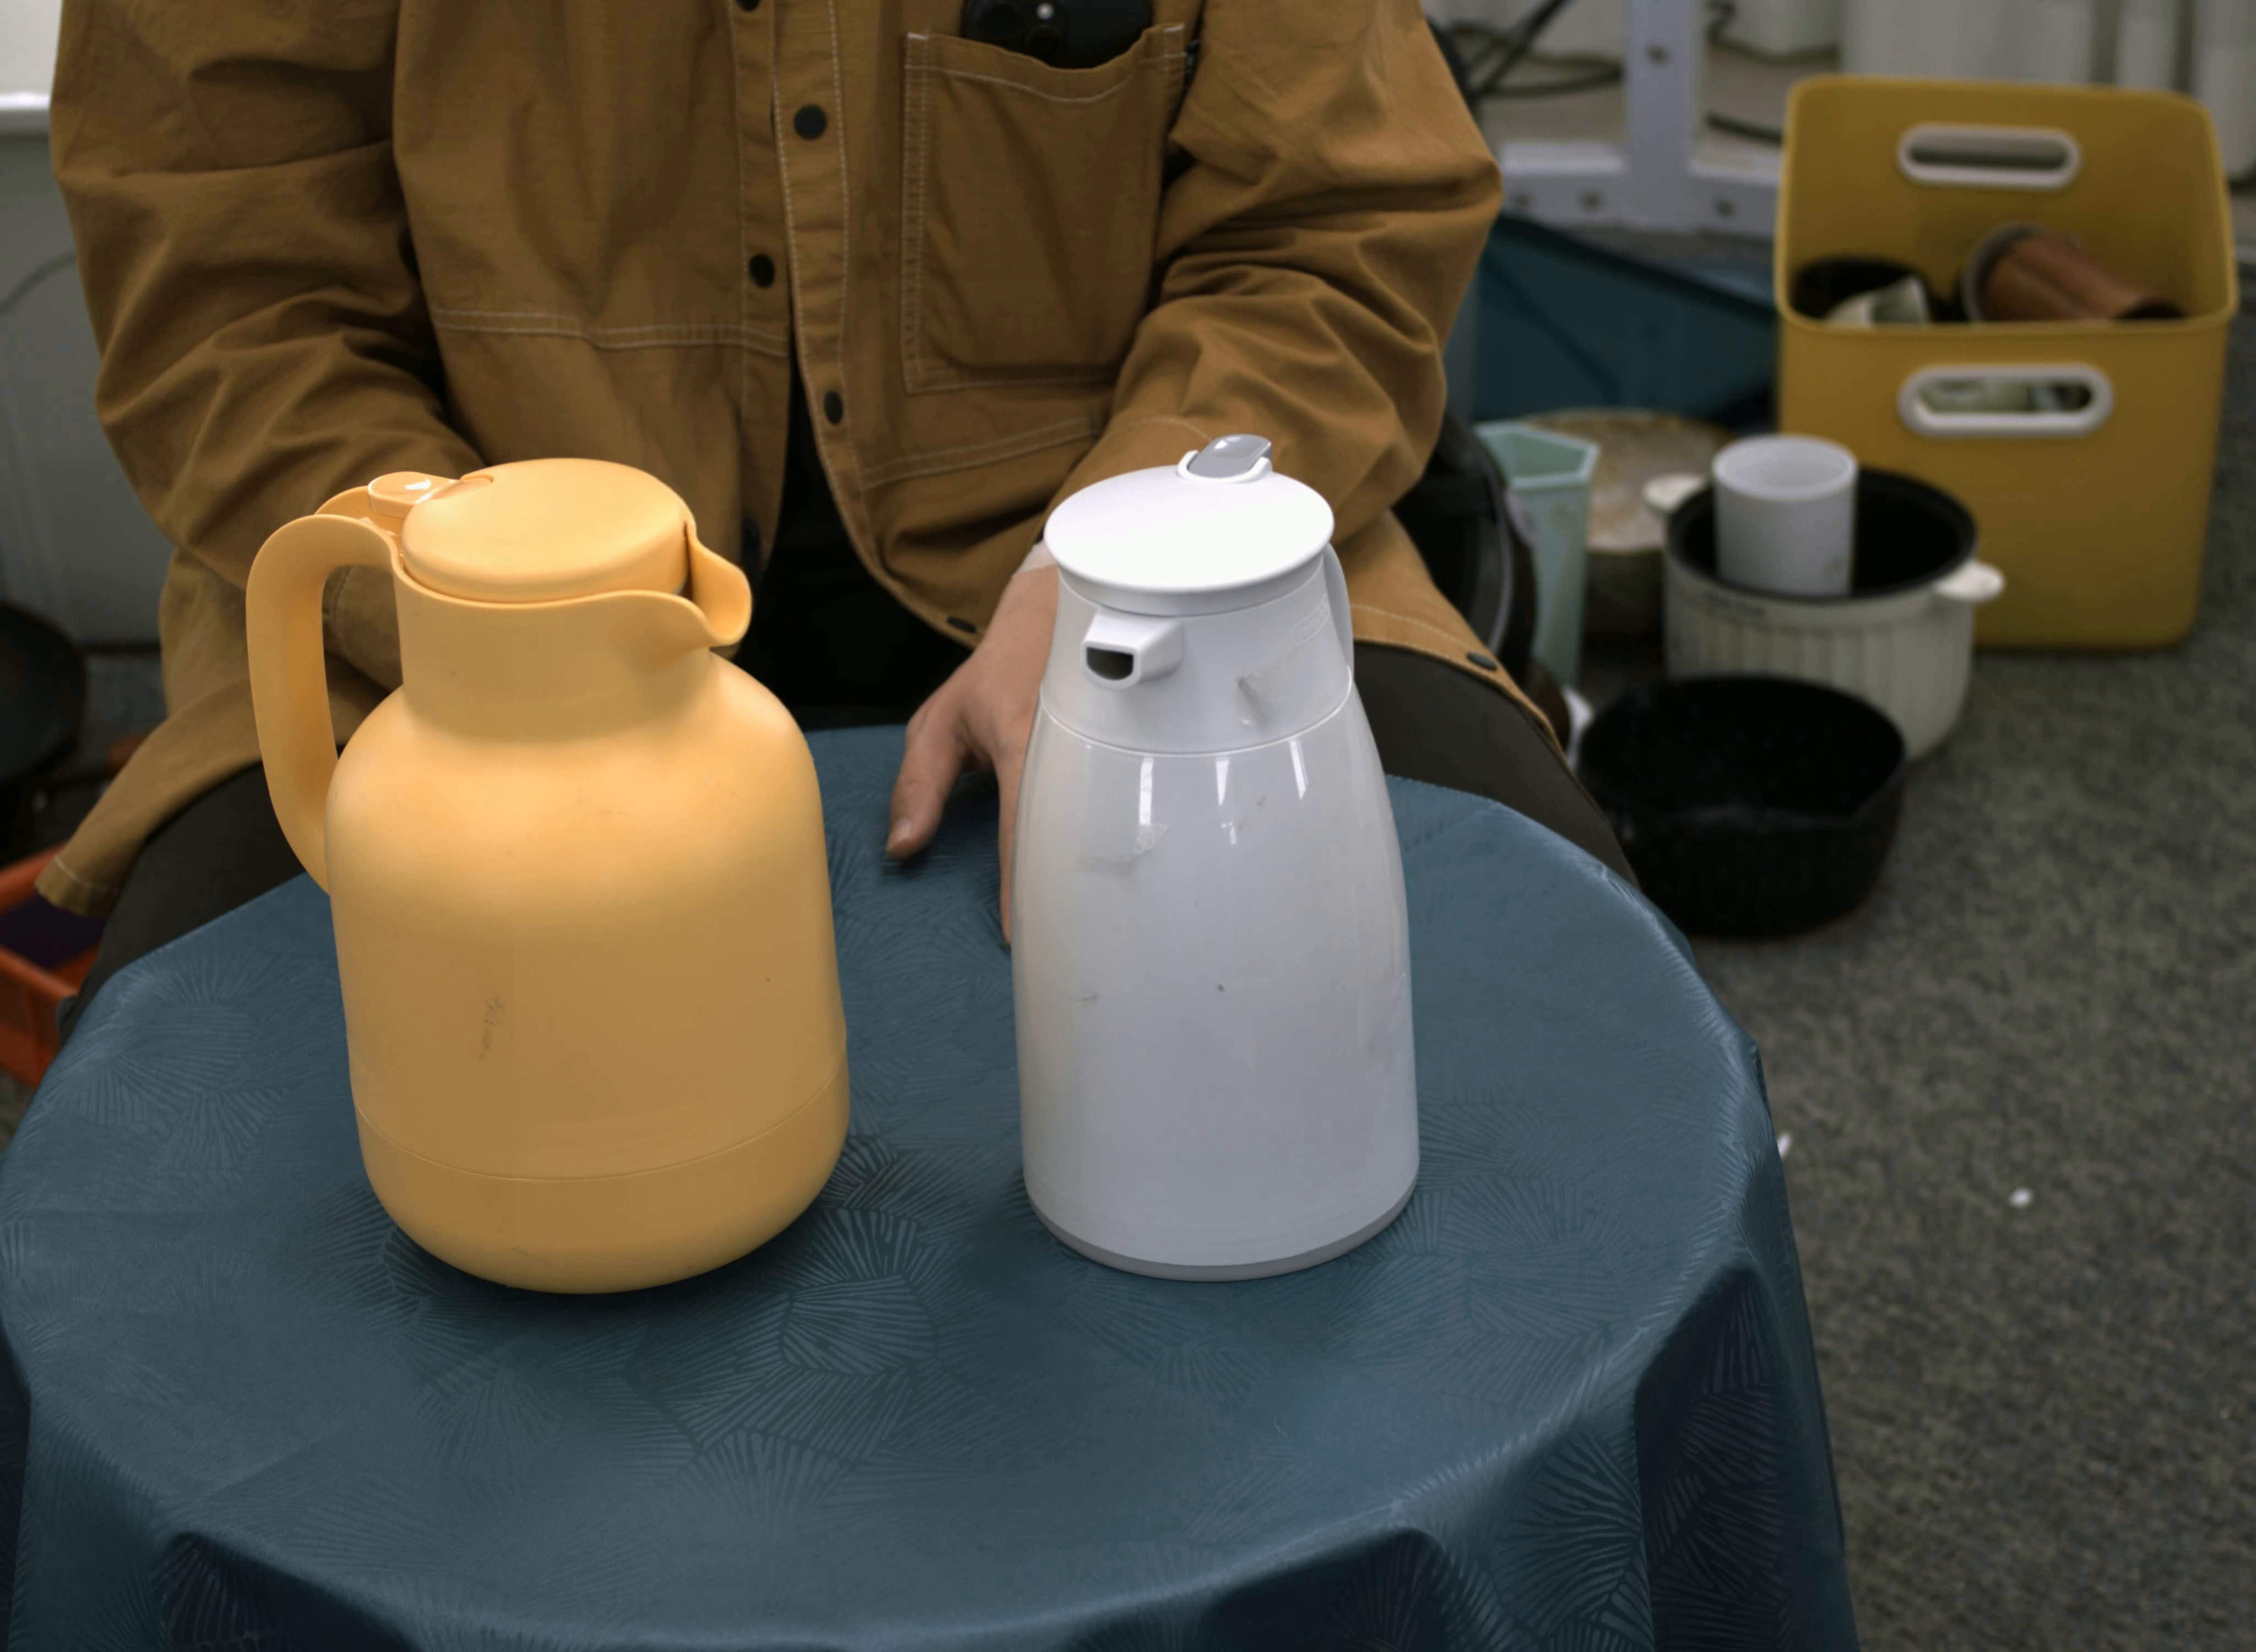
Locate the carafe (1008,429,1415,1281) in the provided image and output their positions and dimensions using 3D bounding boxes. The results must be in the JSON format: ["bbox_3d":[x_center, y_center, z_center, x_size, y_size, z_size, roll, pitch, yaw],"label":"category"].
[{"bbox_3d":[0.031,-0.002,1.828,0.131,0.246,0.170,8,28,22],"label":"carafe"}]

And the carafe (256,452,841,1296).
[{"bbox_3d":[-0.193,0.006,1.823,0.201,0.258,0.166,16,30,31],"label":"carafe"}]
